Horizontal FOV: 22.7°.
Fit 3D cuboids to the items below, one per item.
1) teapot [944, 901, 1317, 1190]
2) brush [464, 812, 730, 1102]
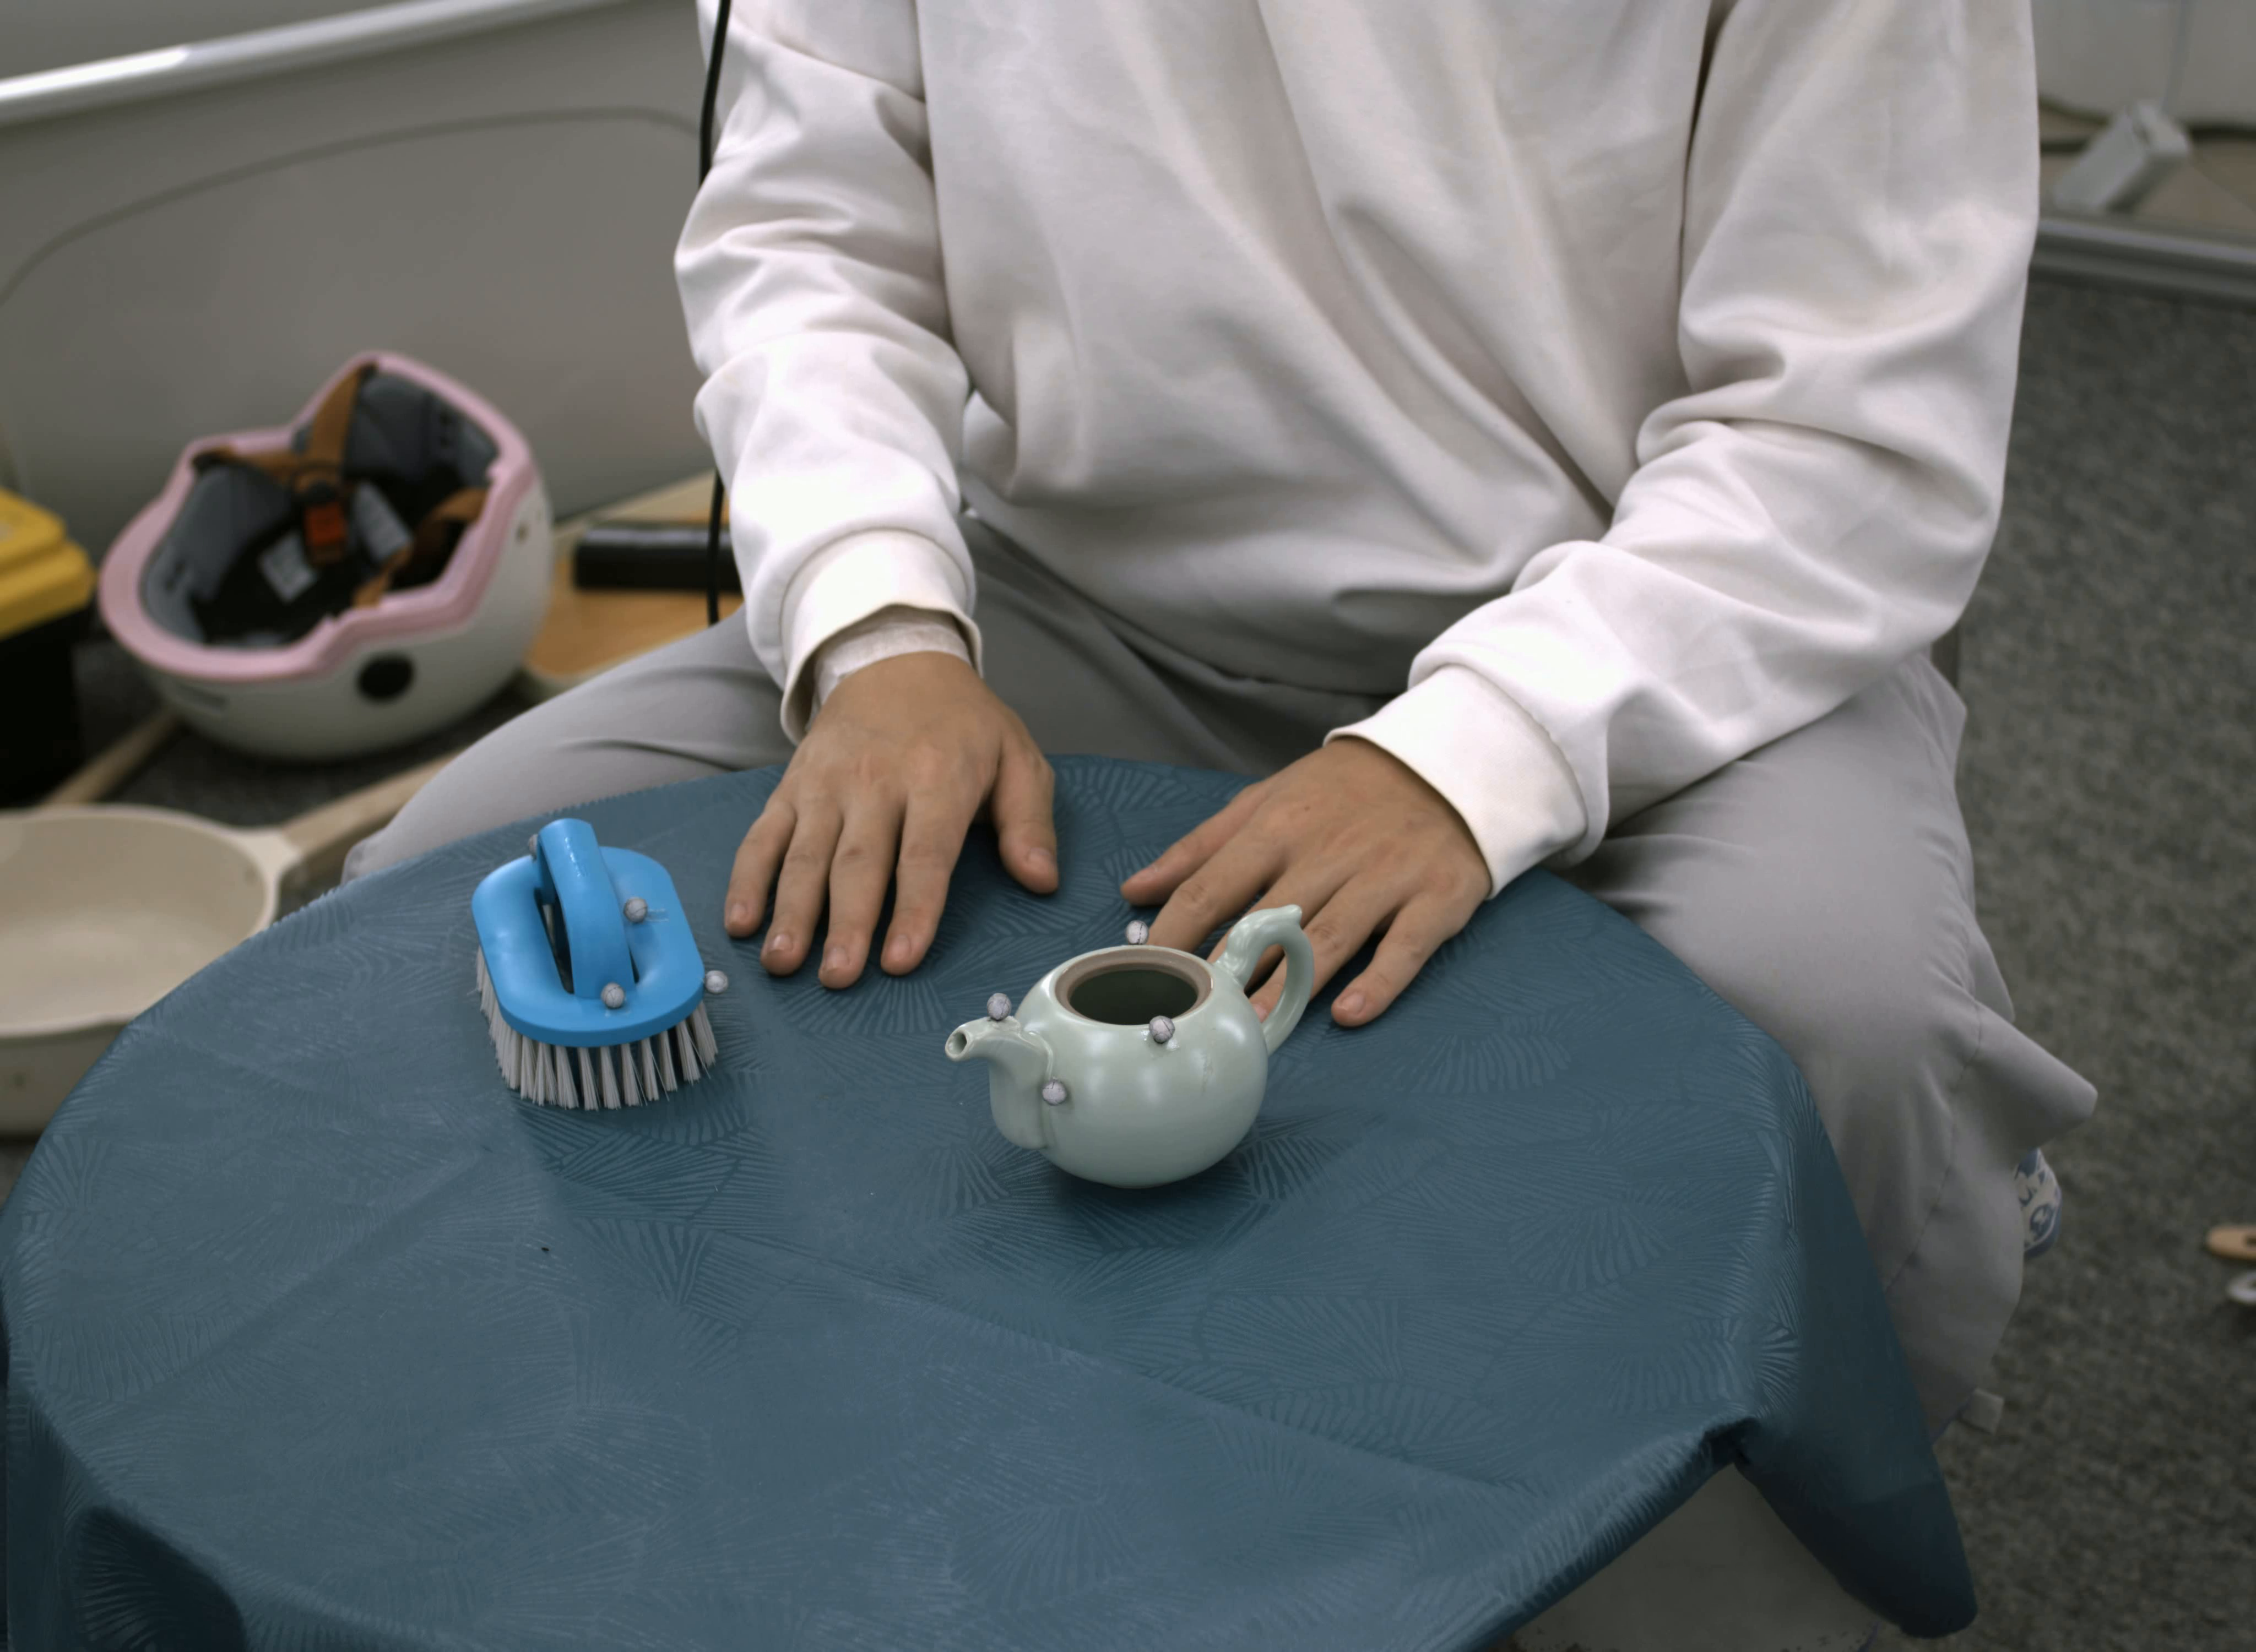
[{"bbox_3d":[0.004,0.079,1.869,0.145,0.074,0.088,-21,30,-26],"label":"teapot"},{"bbox_3d":[-0.190,0.037,1.974,0.084,0.063,0.143,-12,27,-8],"label":"brush"}]
